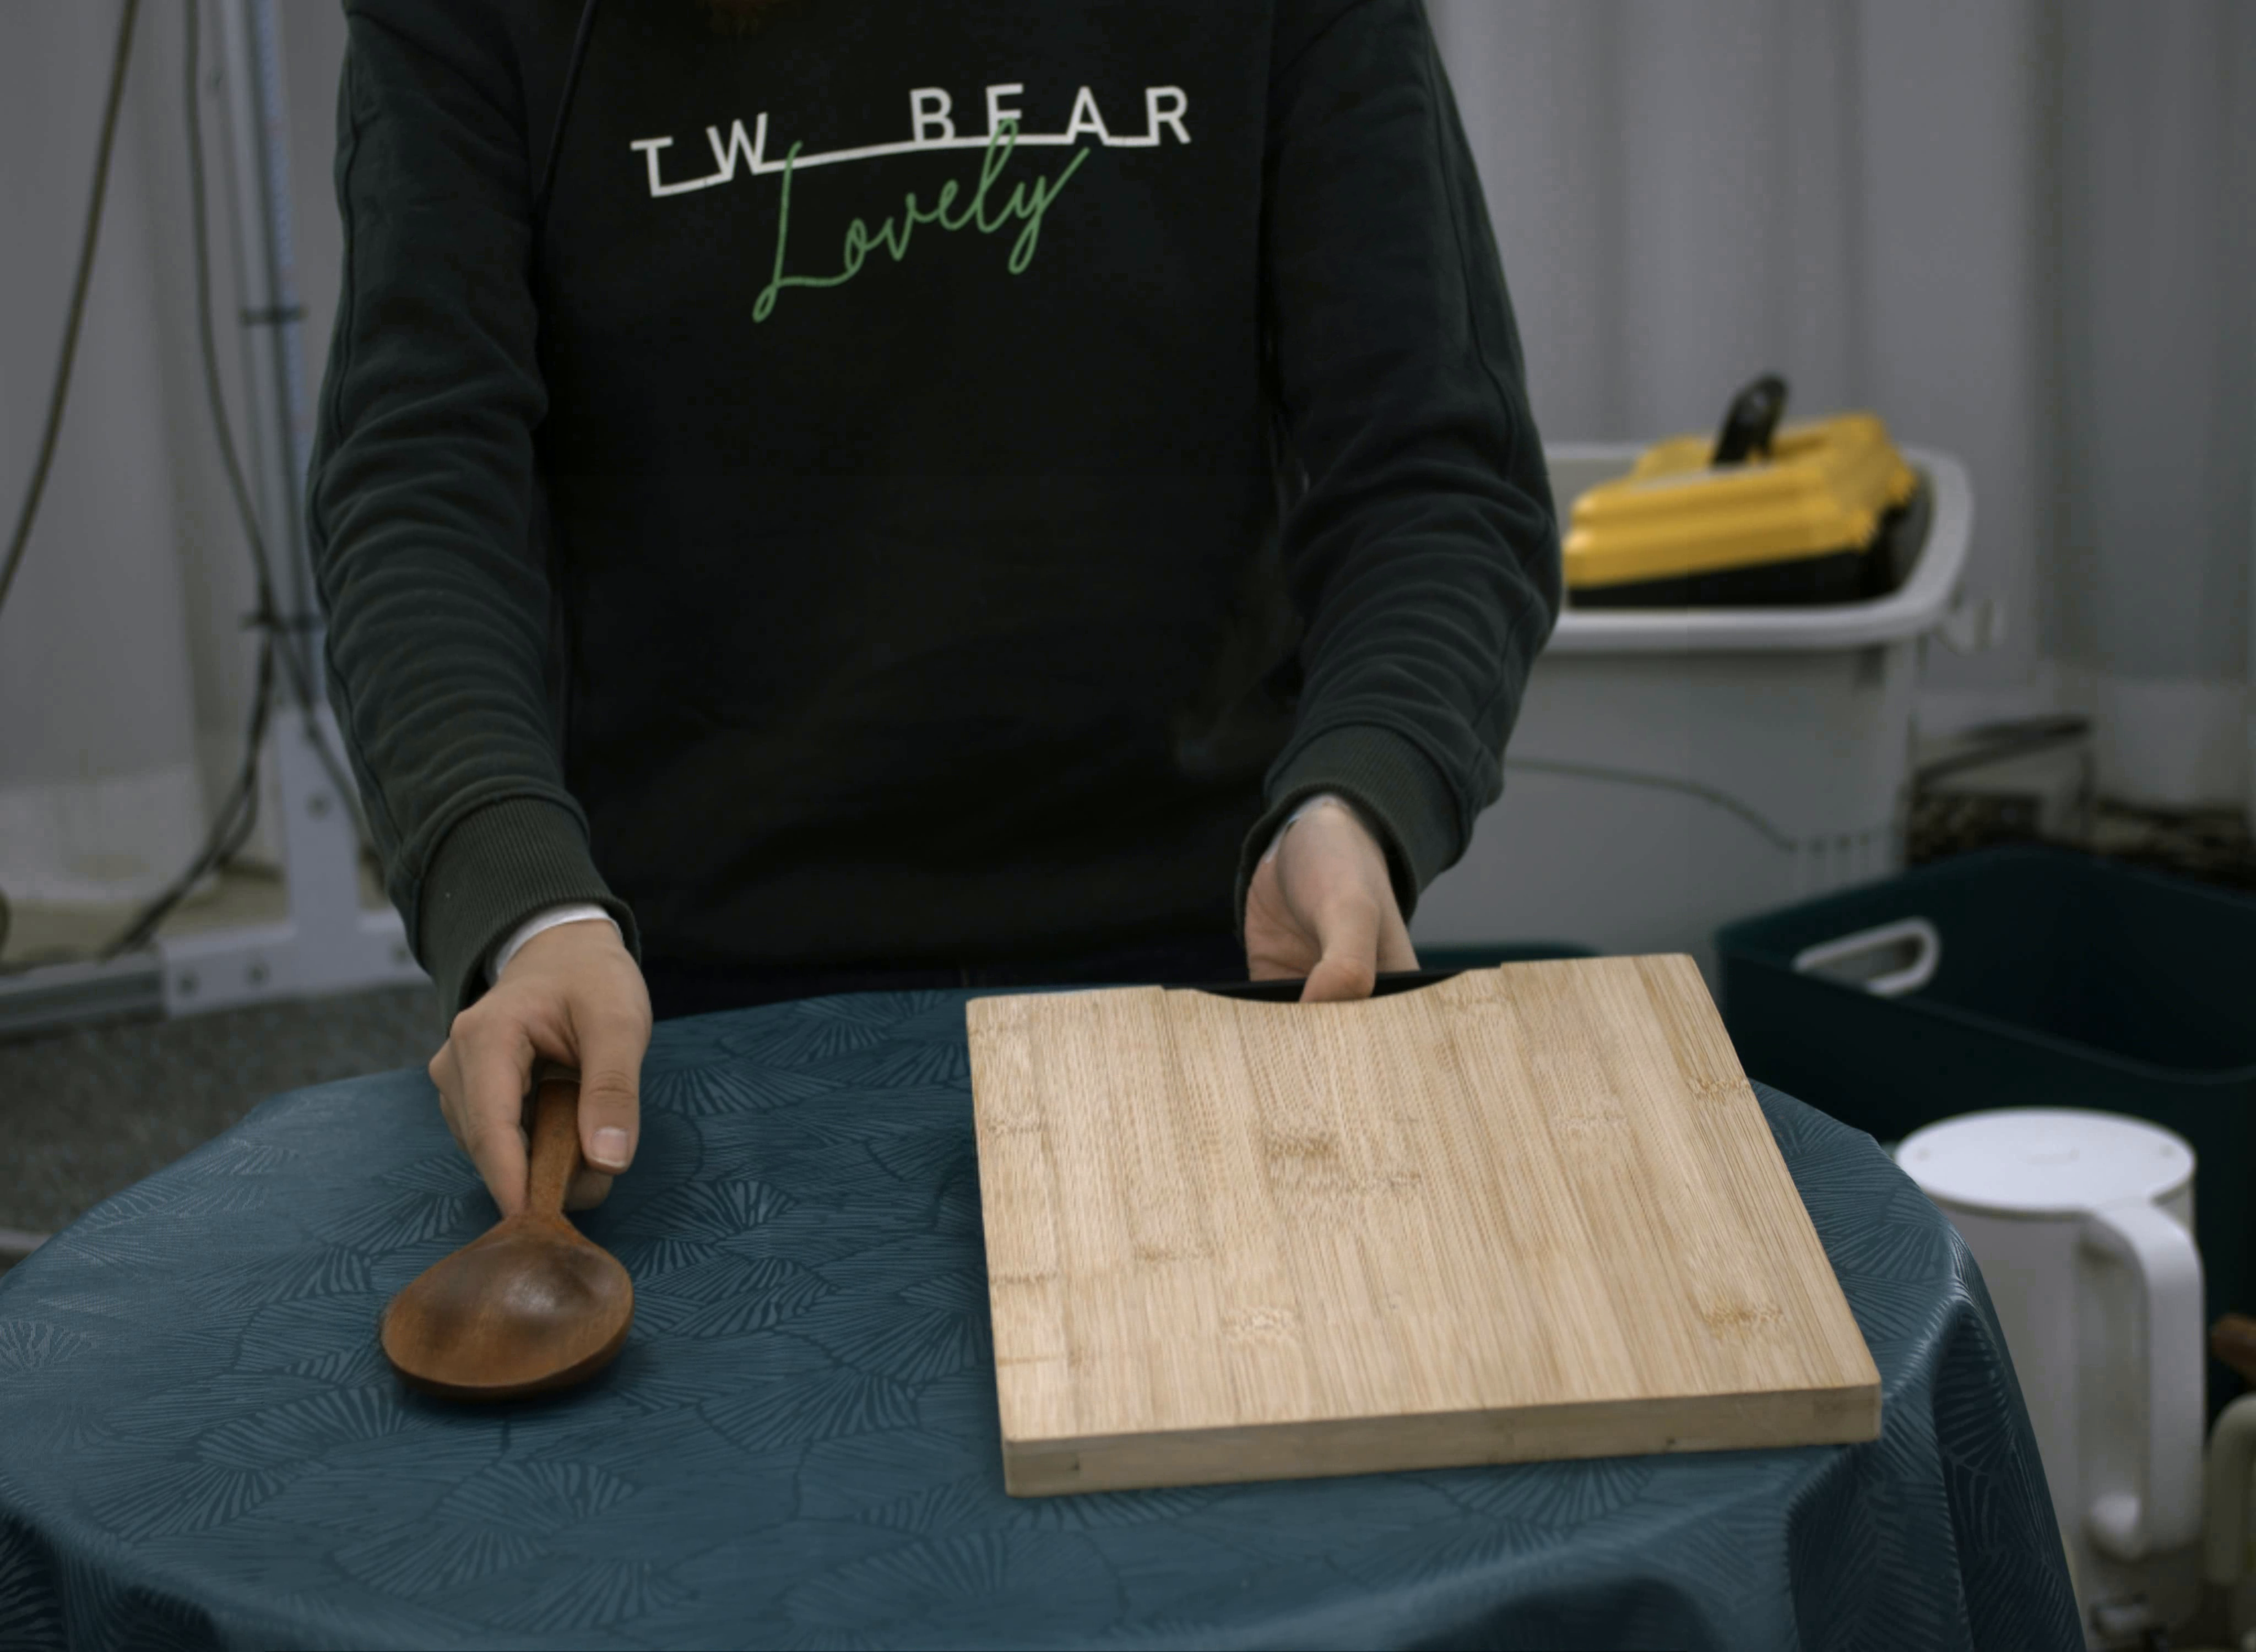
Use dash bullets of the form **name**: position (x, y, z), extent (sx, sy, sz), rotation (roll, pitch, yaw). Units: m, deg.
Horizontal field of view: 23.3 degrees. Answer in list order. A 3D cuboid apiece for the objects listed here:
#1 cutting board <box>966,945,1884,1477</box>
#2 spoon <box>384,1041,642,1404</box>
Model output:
- **cutting board**: position (0.076, 0.110, 1.640), extent (0.250, 0.023, 0.352), rotation (-3, 19, -3)
- **spoon**: position (-0.176, 0.120, 1.645), extent (0.075, 0.017, 0.218), rotation (-6, 24, 4)
